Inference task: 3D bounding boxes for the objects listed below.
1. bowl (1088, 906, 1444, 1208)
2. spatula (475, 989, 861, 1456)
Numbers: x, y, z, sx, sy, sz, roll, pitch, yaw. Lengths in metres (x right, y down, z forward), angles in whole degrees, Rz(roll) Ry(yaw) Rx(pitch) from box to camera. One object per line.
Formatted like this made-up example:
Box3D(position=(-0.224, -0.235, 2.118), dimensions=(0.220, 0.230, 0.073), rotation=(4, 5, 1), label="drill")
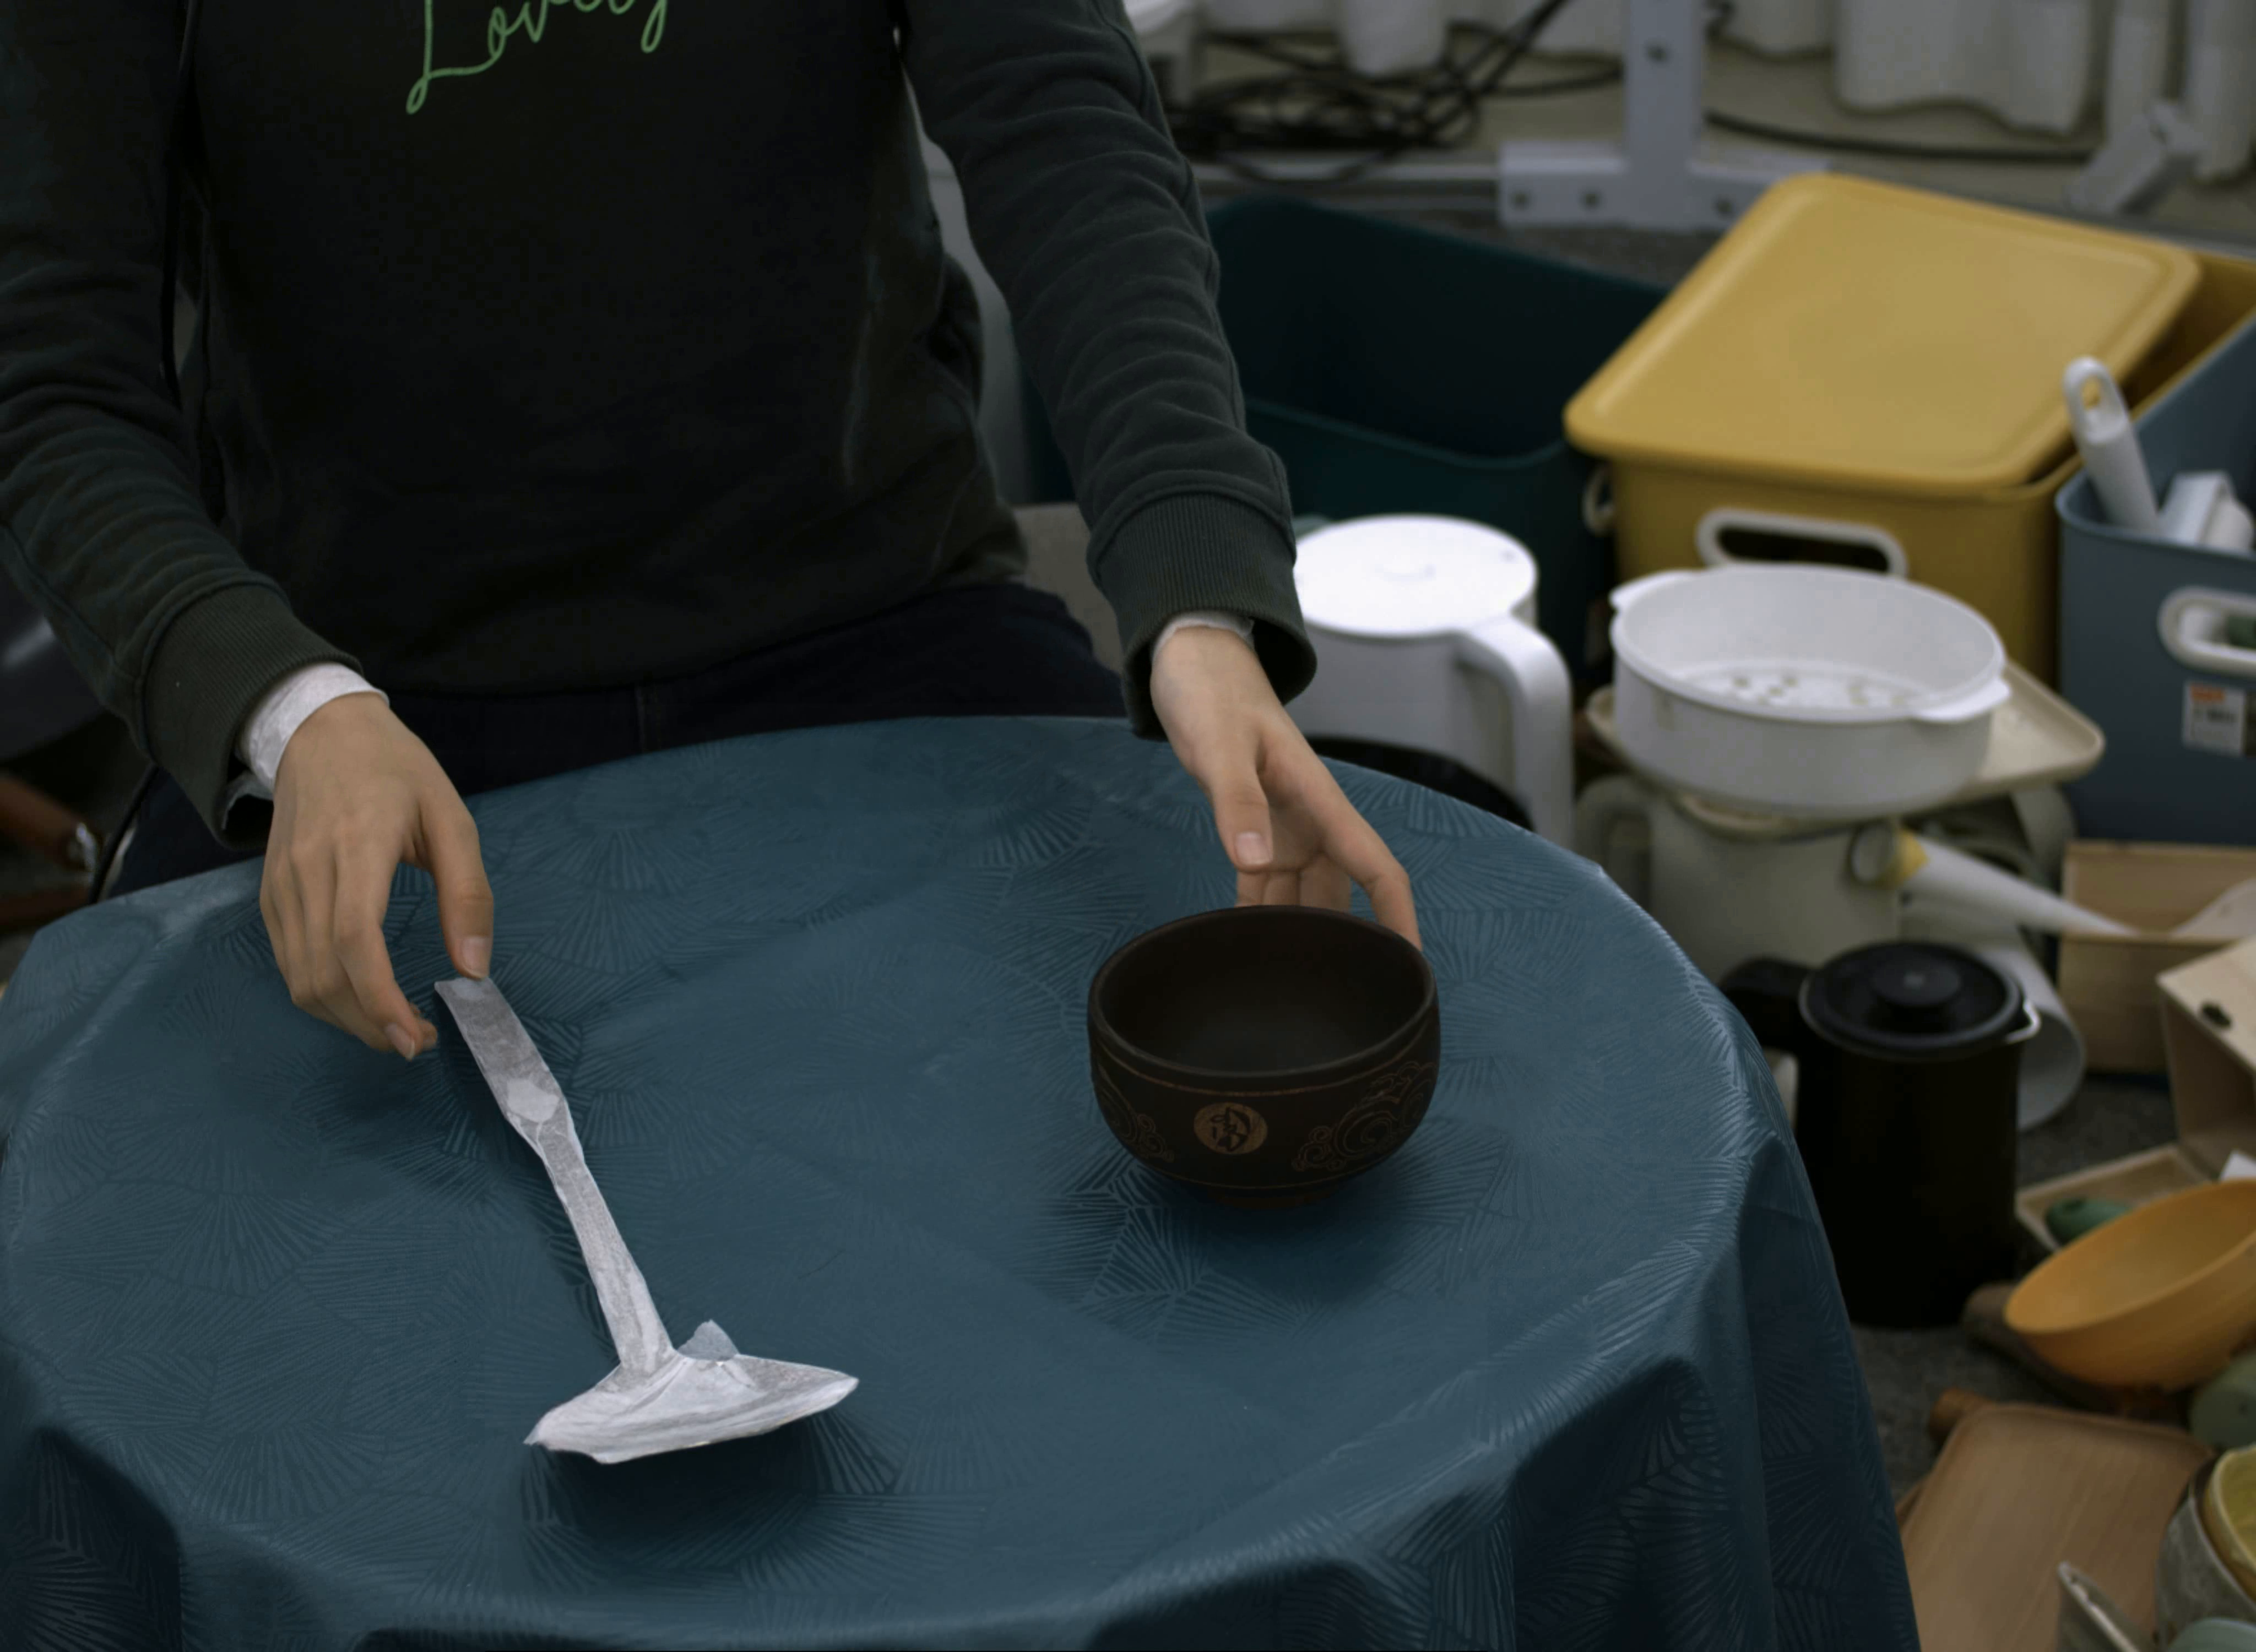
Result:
Box3D(position=(0.046, 0.083, 1.856), dimensions=(0.117, 0.069, 0.119), rotation=(-2, 25, 1), label="bowl")
Box3D(position=(-0.174, 0.121, 1.838), dimensions=(0.099, 0.044, 0.368), rotation=(-12, 29, -13), label="spatula")
